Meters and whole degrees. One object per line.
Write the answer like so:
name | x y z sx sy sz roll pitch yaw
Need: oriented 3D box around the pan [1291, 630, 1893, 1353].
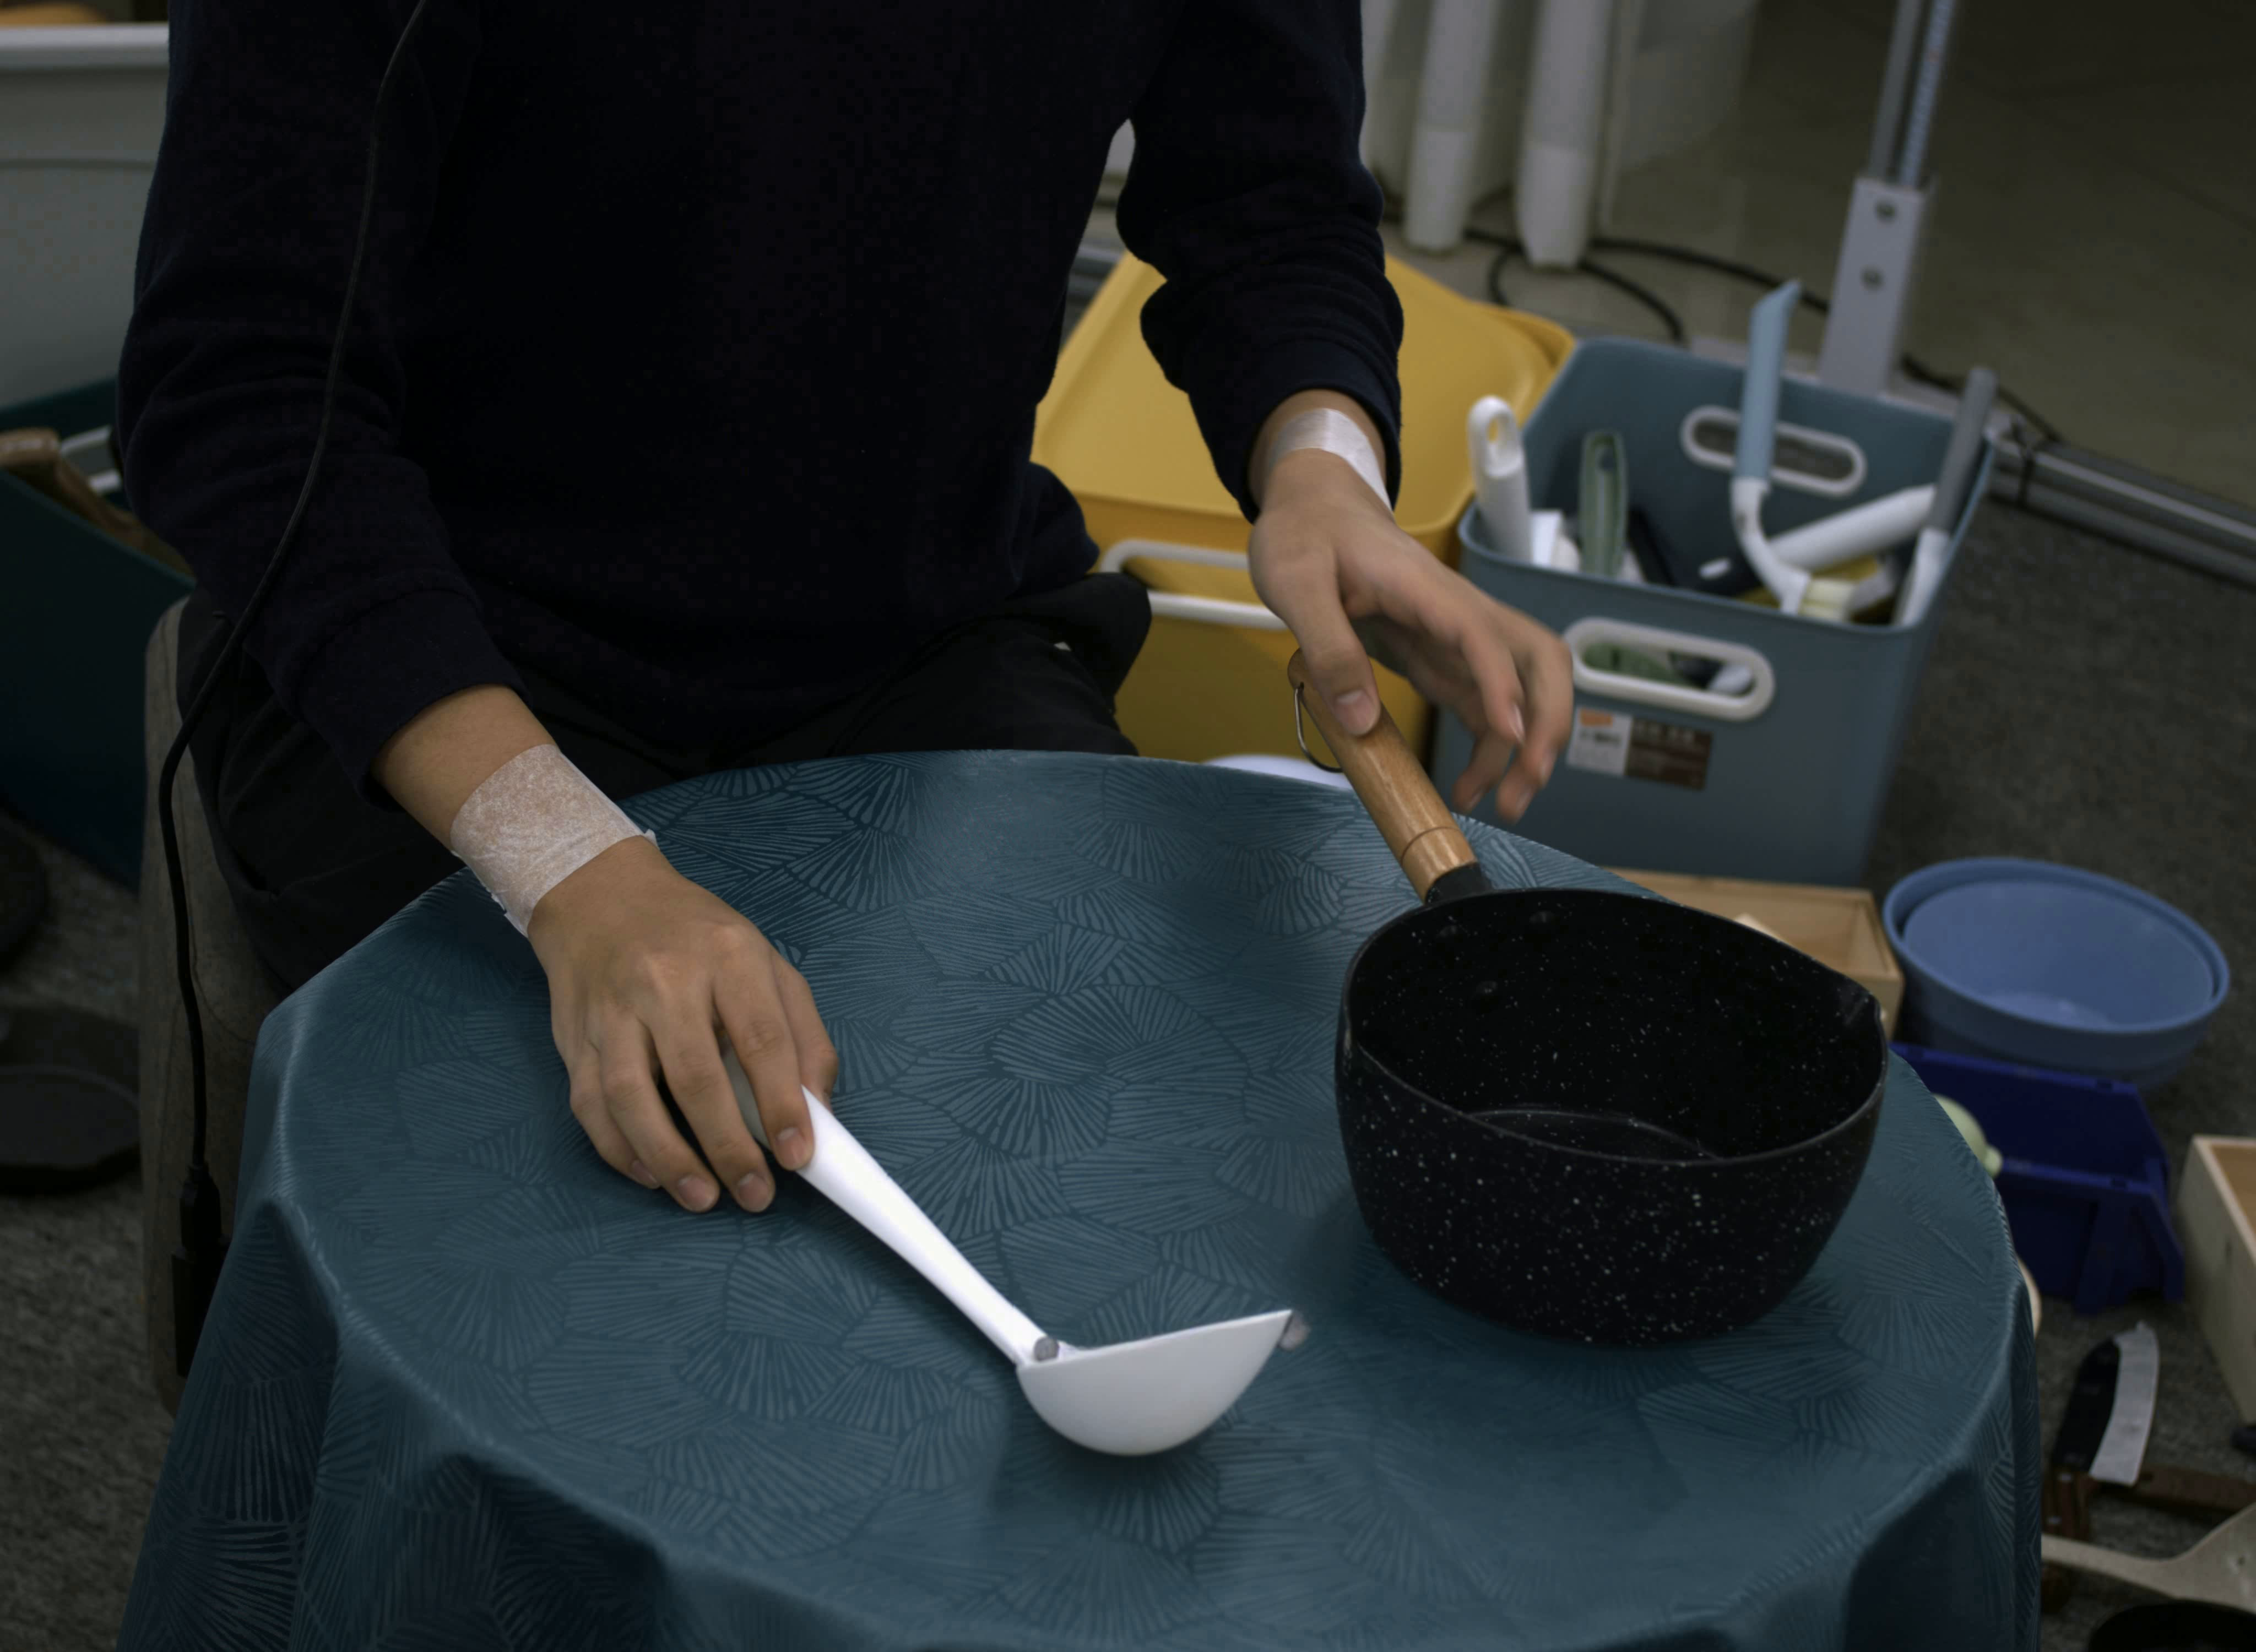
pan | 0.128 0.054 1.848 0.206 0.108 0.346 -7 31 -23

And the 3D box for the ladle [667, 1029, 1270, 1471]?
ladle | -0.063 0.125 1.724 0.089 0.070 0.295 -10 29 -33
